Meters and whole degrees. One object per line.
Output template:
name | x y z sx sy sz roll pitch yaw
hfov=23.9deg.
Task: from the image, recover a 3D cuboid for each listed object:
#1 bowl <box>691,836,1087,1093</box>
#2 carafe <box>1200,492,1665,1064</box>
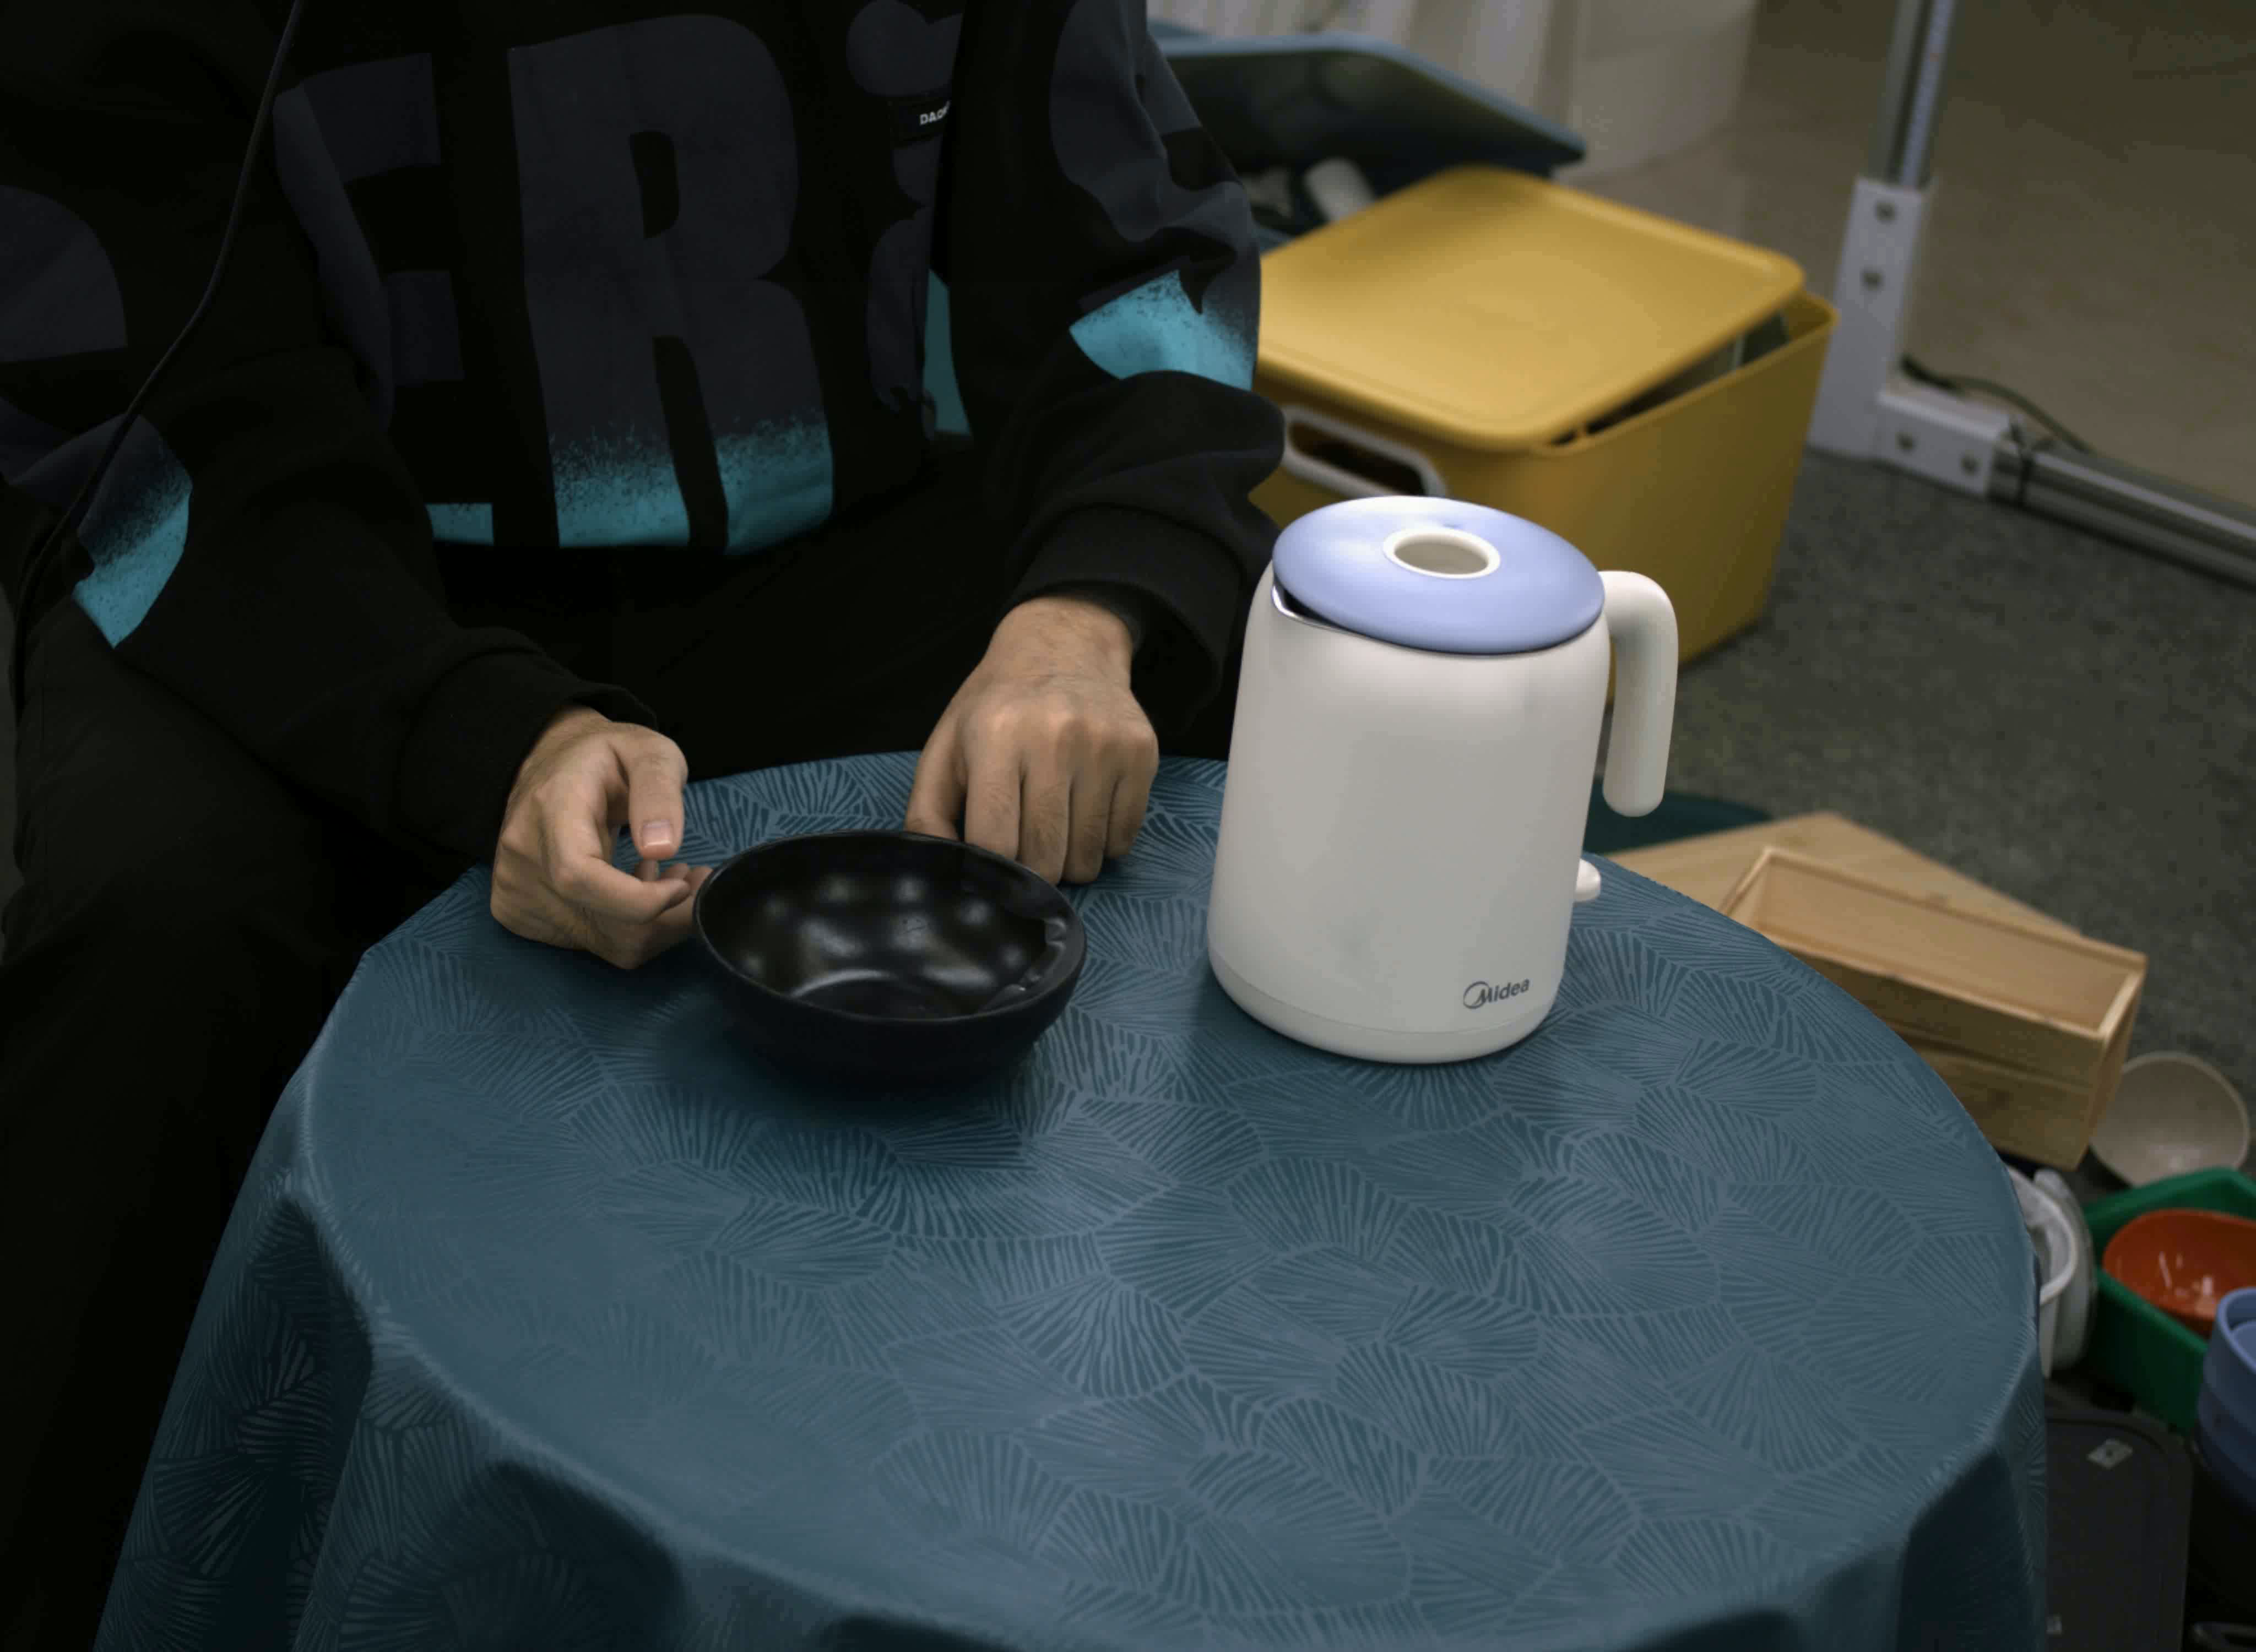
bowl | -0.085 0.055 1.860 0.139 0.049 0.141 4 25 -2
carafe | 0.119 -0.021 1.923 0.190 0.182 0.133 -10 32 -35
